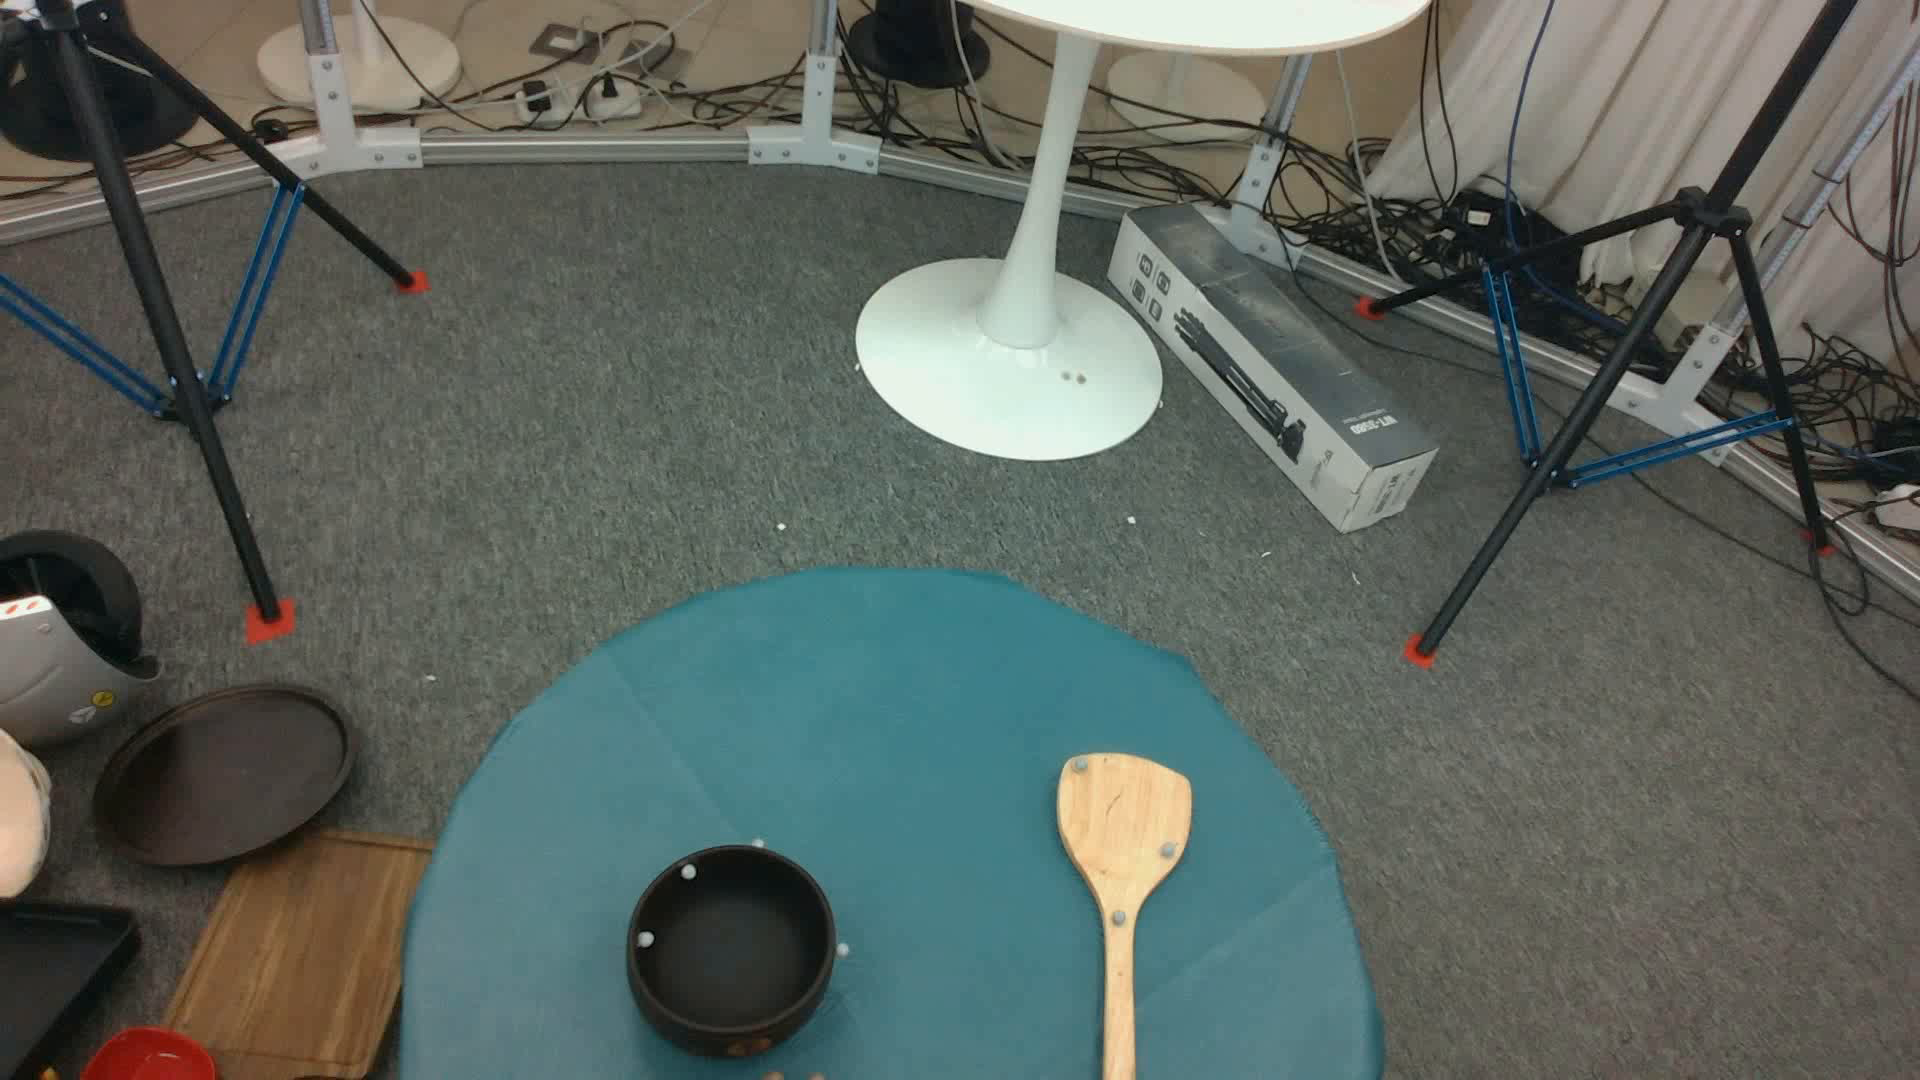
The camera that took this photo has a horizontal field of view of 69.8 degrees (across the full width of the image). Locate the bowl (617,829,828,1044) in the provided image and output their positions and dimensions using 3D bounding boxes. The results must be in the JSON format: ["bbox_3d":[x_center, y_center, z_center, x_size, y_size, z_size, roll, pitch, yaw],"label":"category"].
[{"bbox_3d":[-0.137,0.234,0.796,0.118,0.069,0.118,6,49,-7],"label":"bowl"}]

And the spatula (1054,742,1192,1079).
[{"bbox_3d":[0.098,0.289,0.837,0.096,0.018,0.392,9,46,-2],"label":"spatula"}]
